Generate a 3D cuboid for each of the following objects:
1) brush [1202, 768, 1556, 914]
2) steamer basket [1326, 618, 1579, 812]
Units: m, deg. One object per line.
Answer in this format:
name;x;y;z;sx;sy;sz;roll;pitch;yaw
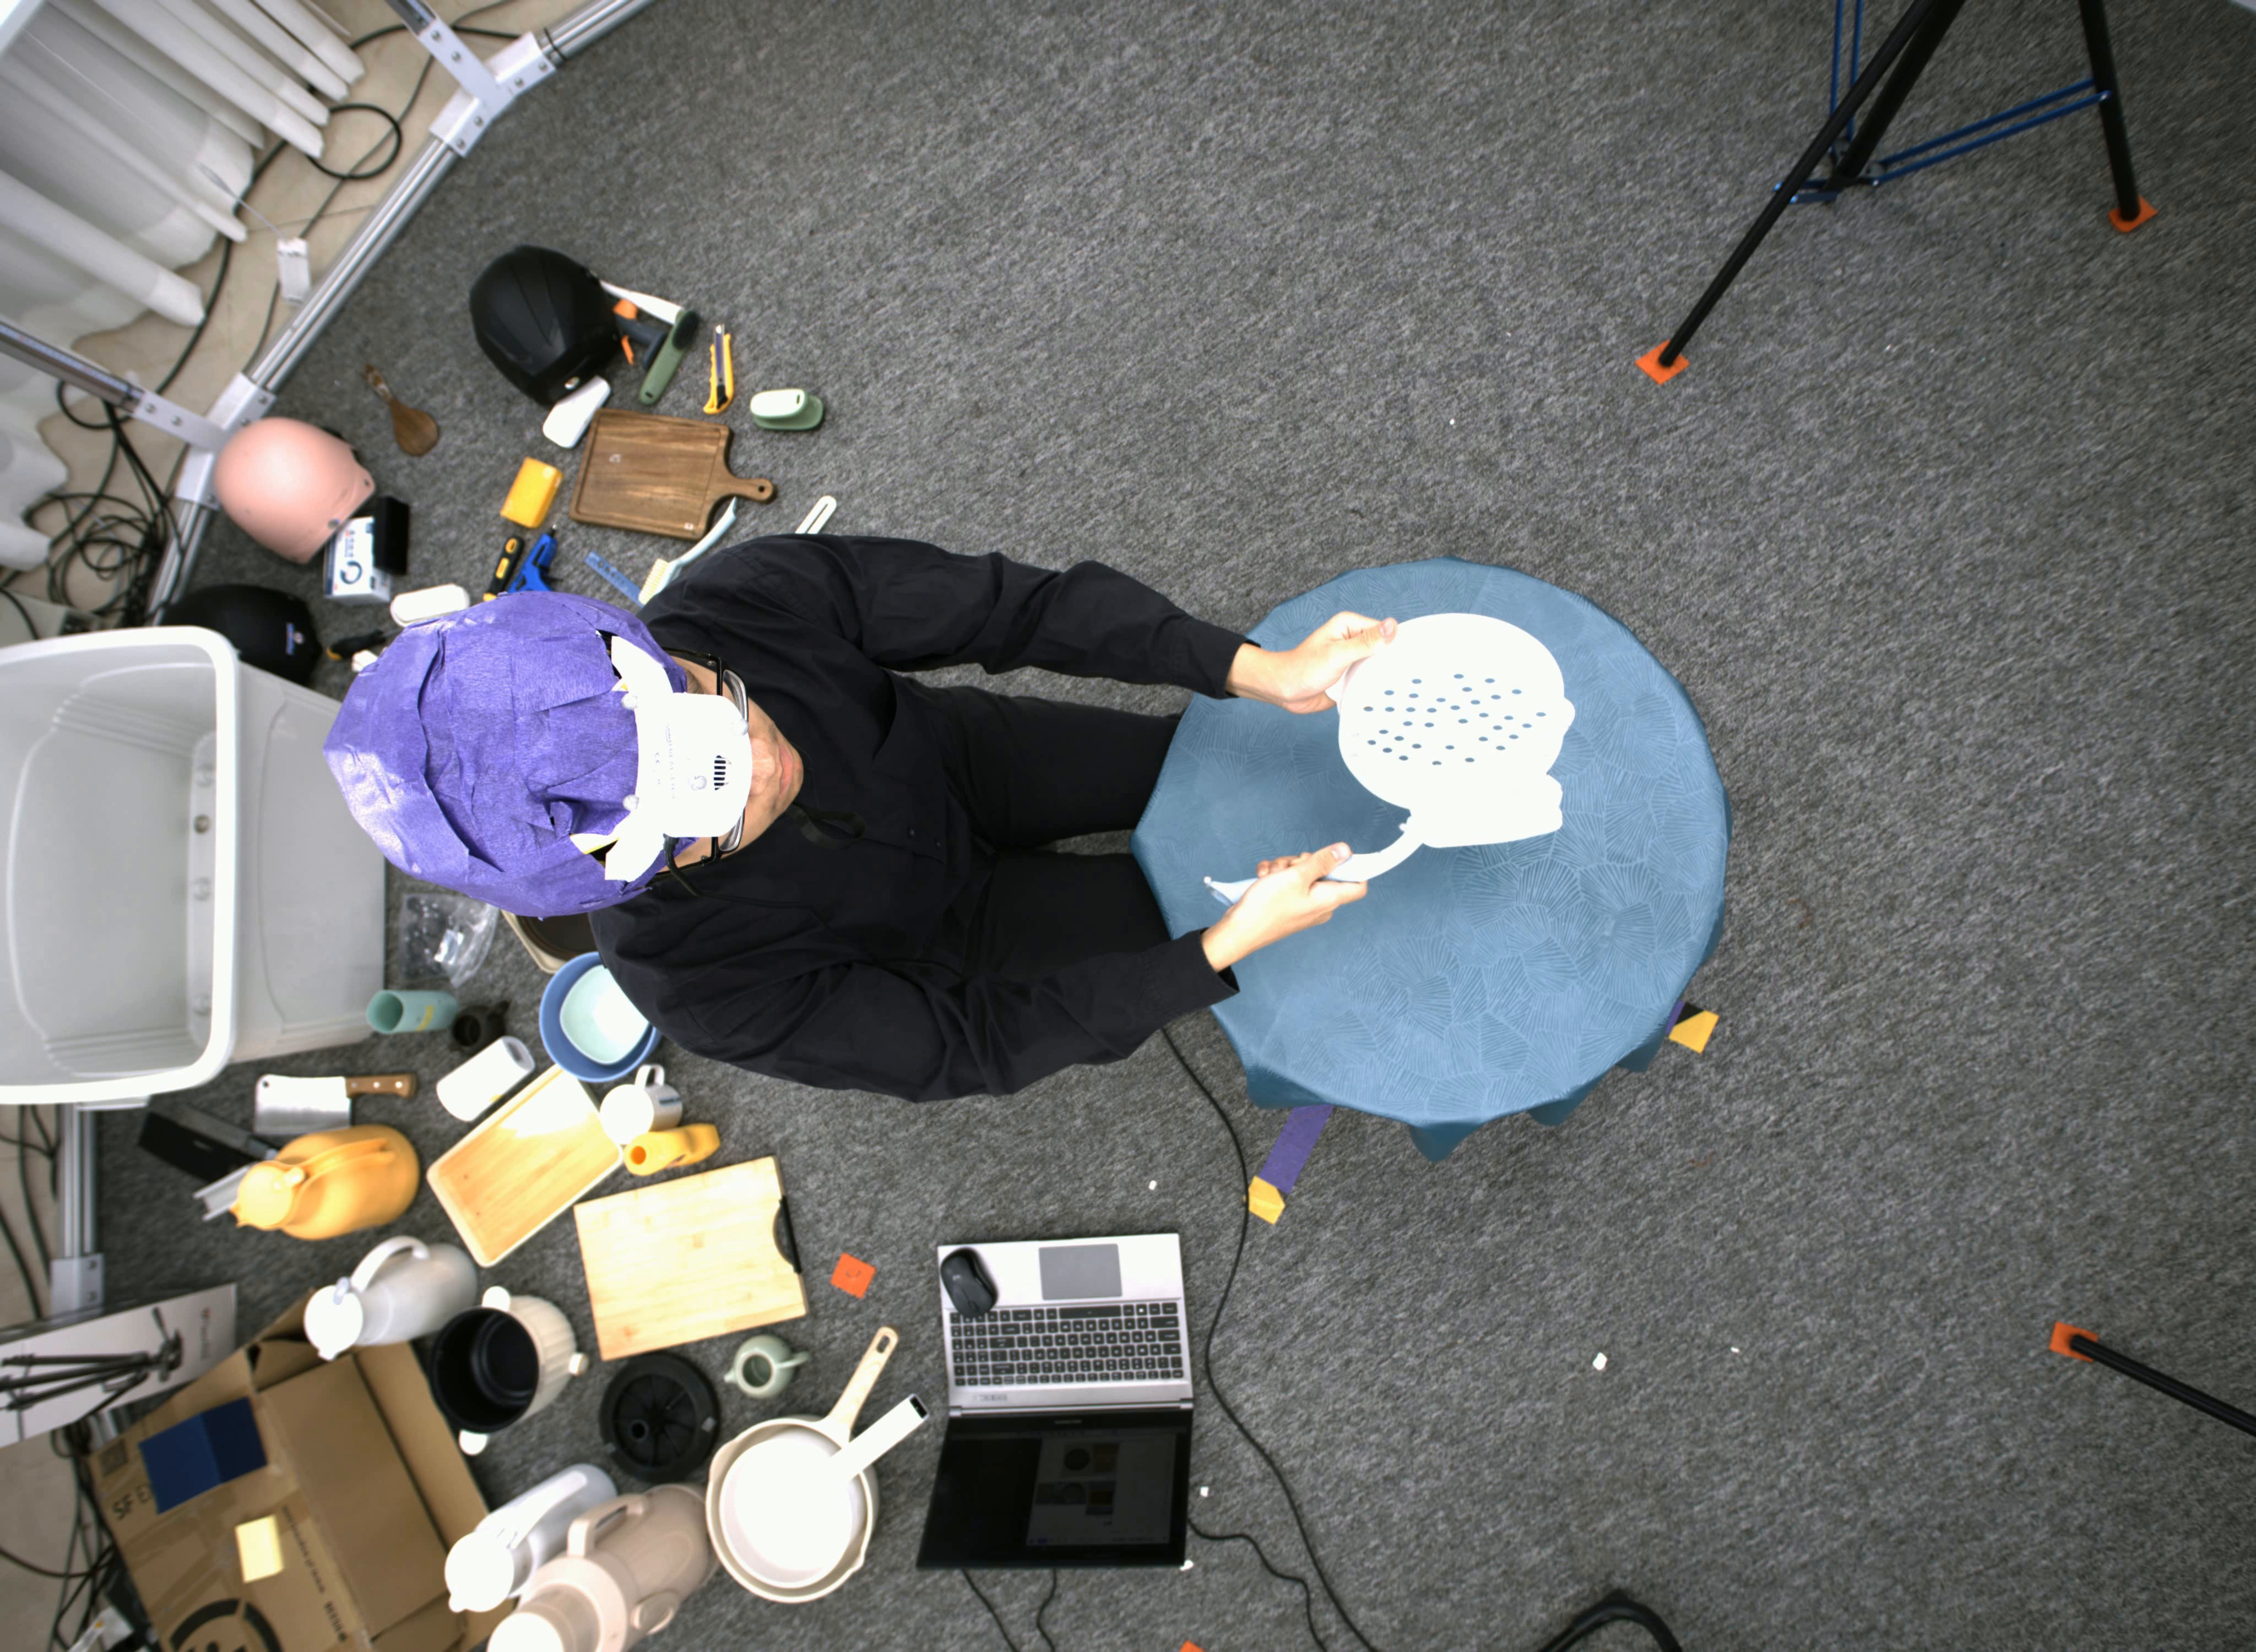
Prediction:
brush;0.220;0.002;1.245;0.328;0.083;0.084;-14;102;13
steamer basket;0.290;-0.091;1.220;0.231;0.207;0.067;13;51;-6
